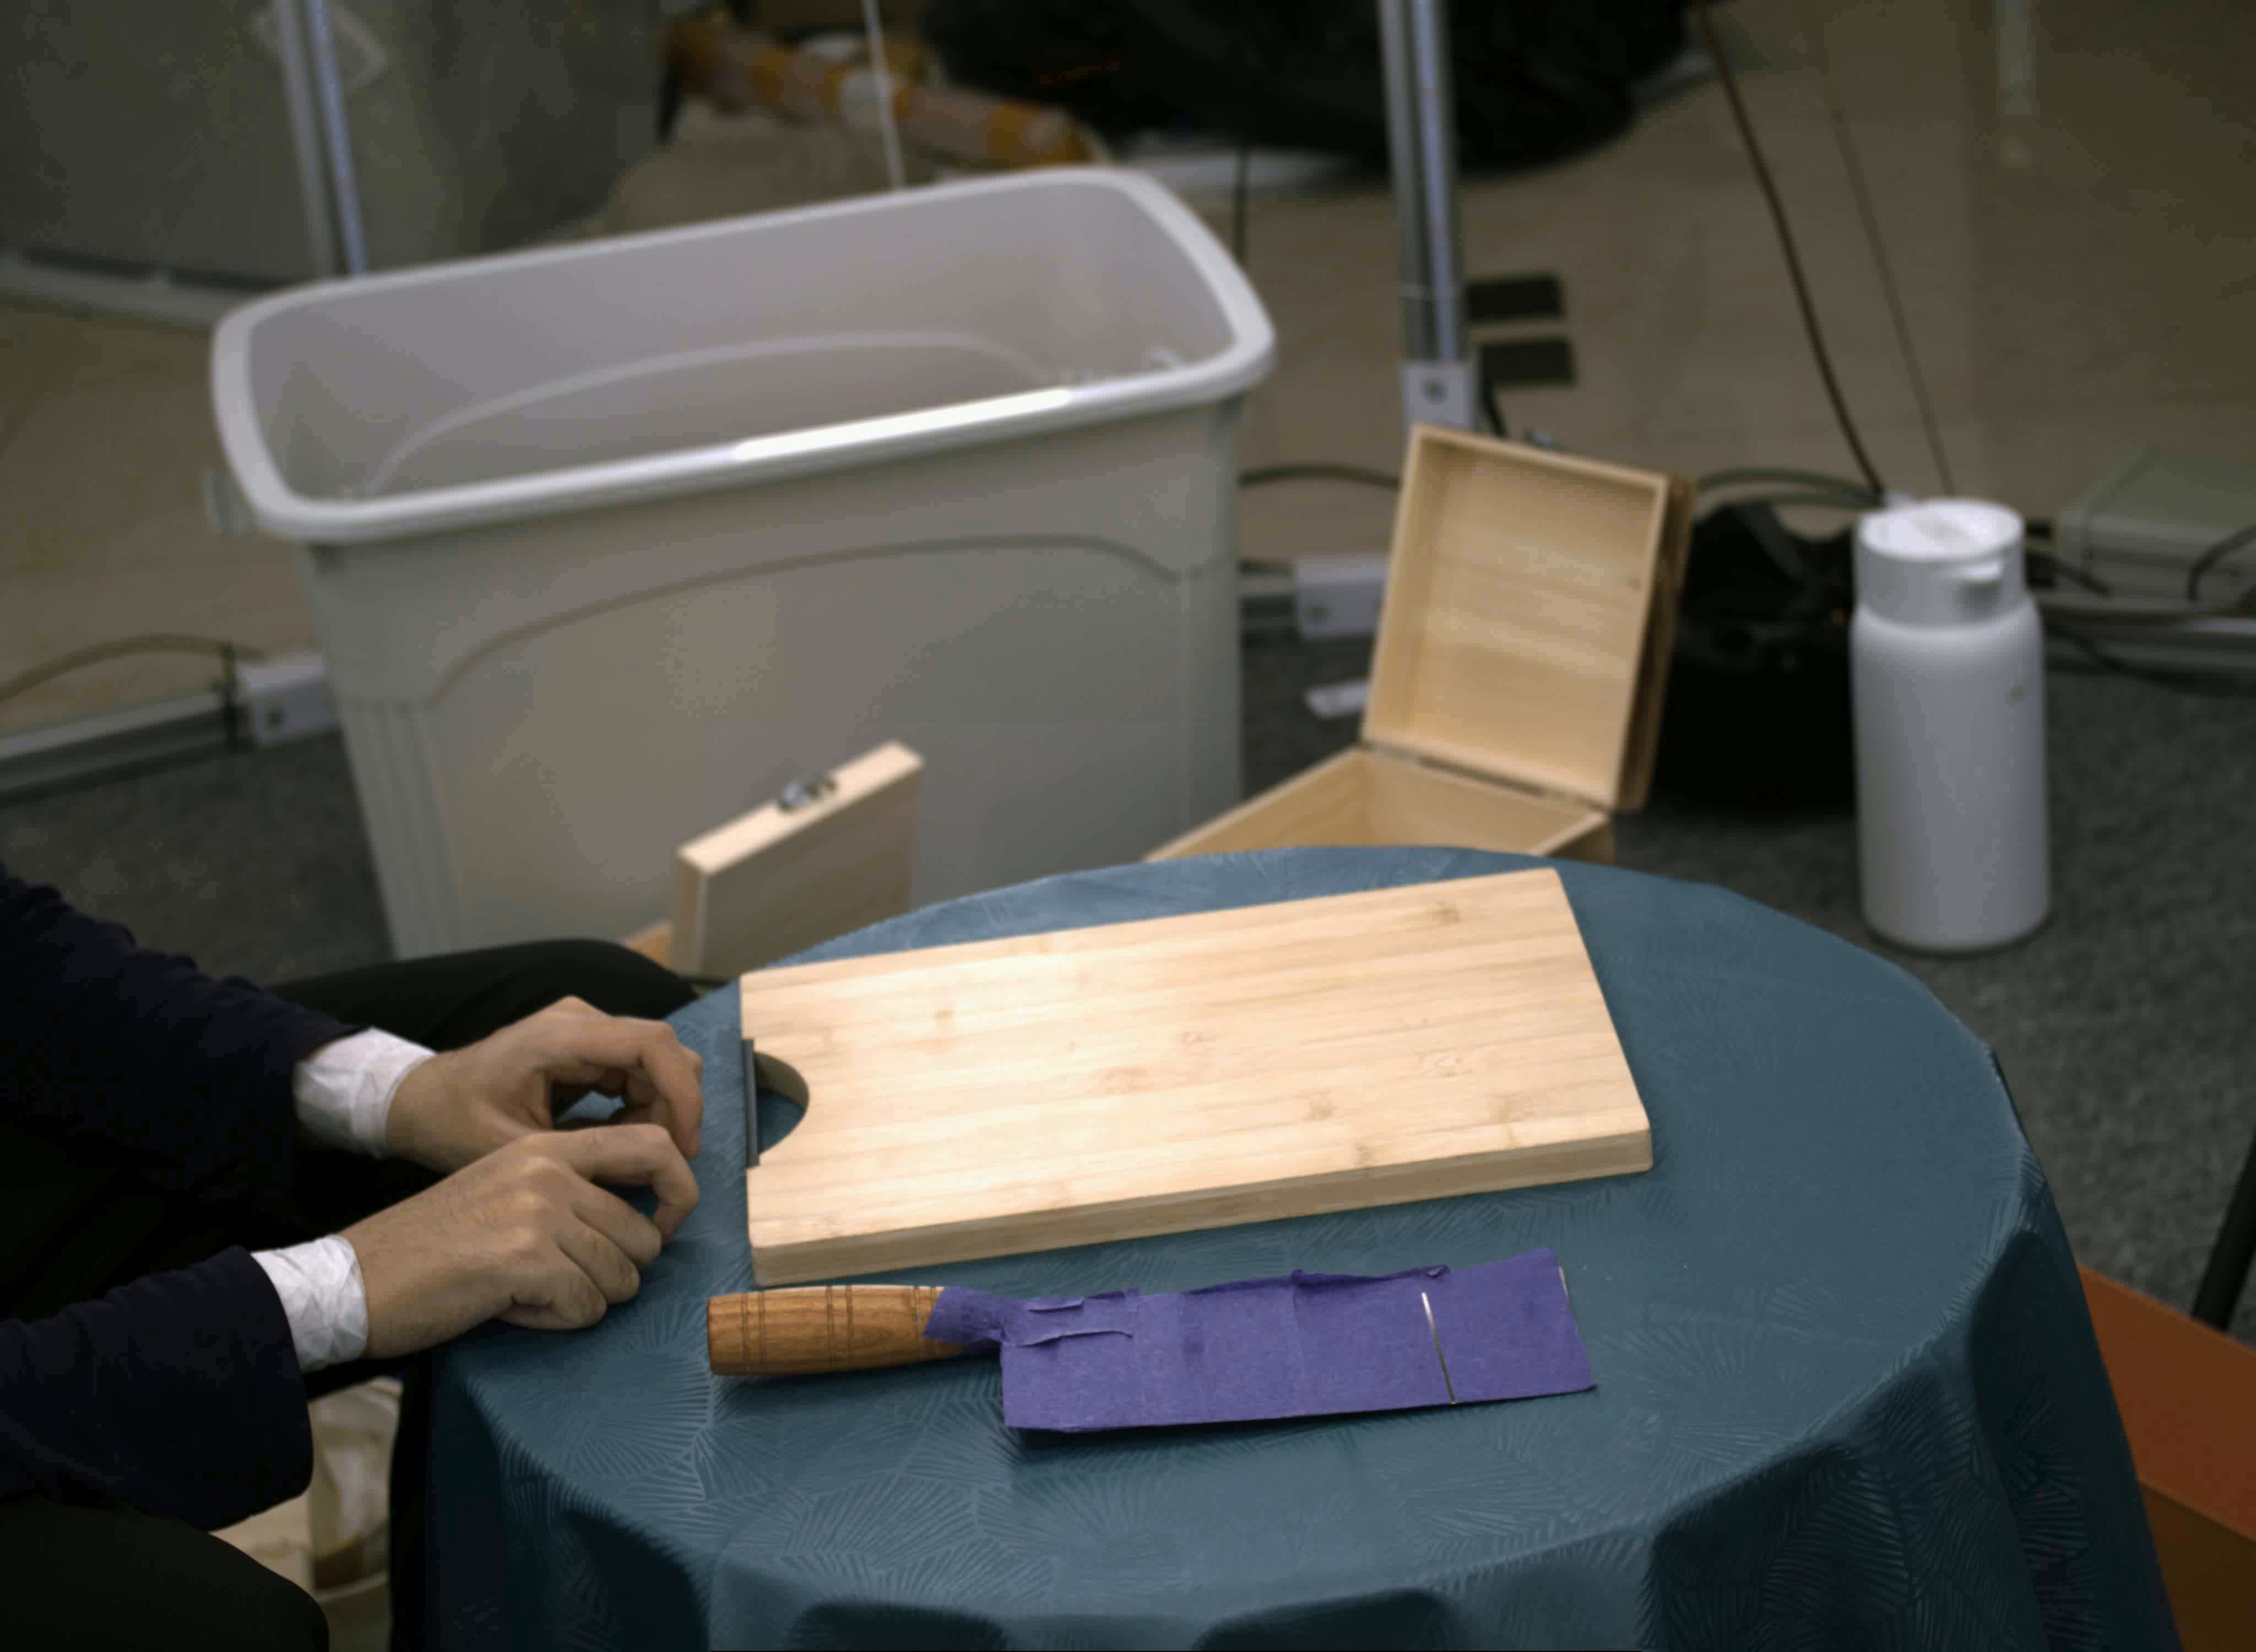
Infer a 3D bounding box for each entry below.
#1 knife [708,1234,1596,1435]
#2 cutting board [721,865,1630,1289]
[{"bbox_3d":[0.007,0.184,2.020,0.315,0.033,0.102,-7,25,-1],"label":"knife"},{"bbox_3d":[0.013,0.096,2.223,0.348,0.024,0.247,-8,25,-2],"label":"cutting board"}]
